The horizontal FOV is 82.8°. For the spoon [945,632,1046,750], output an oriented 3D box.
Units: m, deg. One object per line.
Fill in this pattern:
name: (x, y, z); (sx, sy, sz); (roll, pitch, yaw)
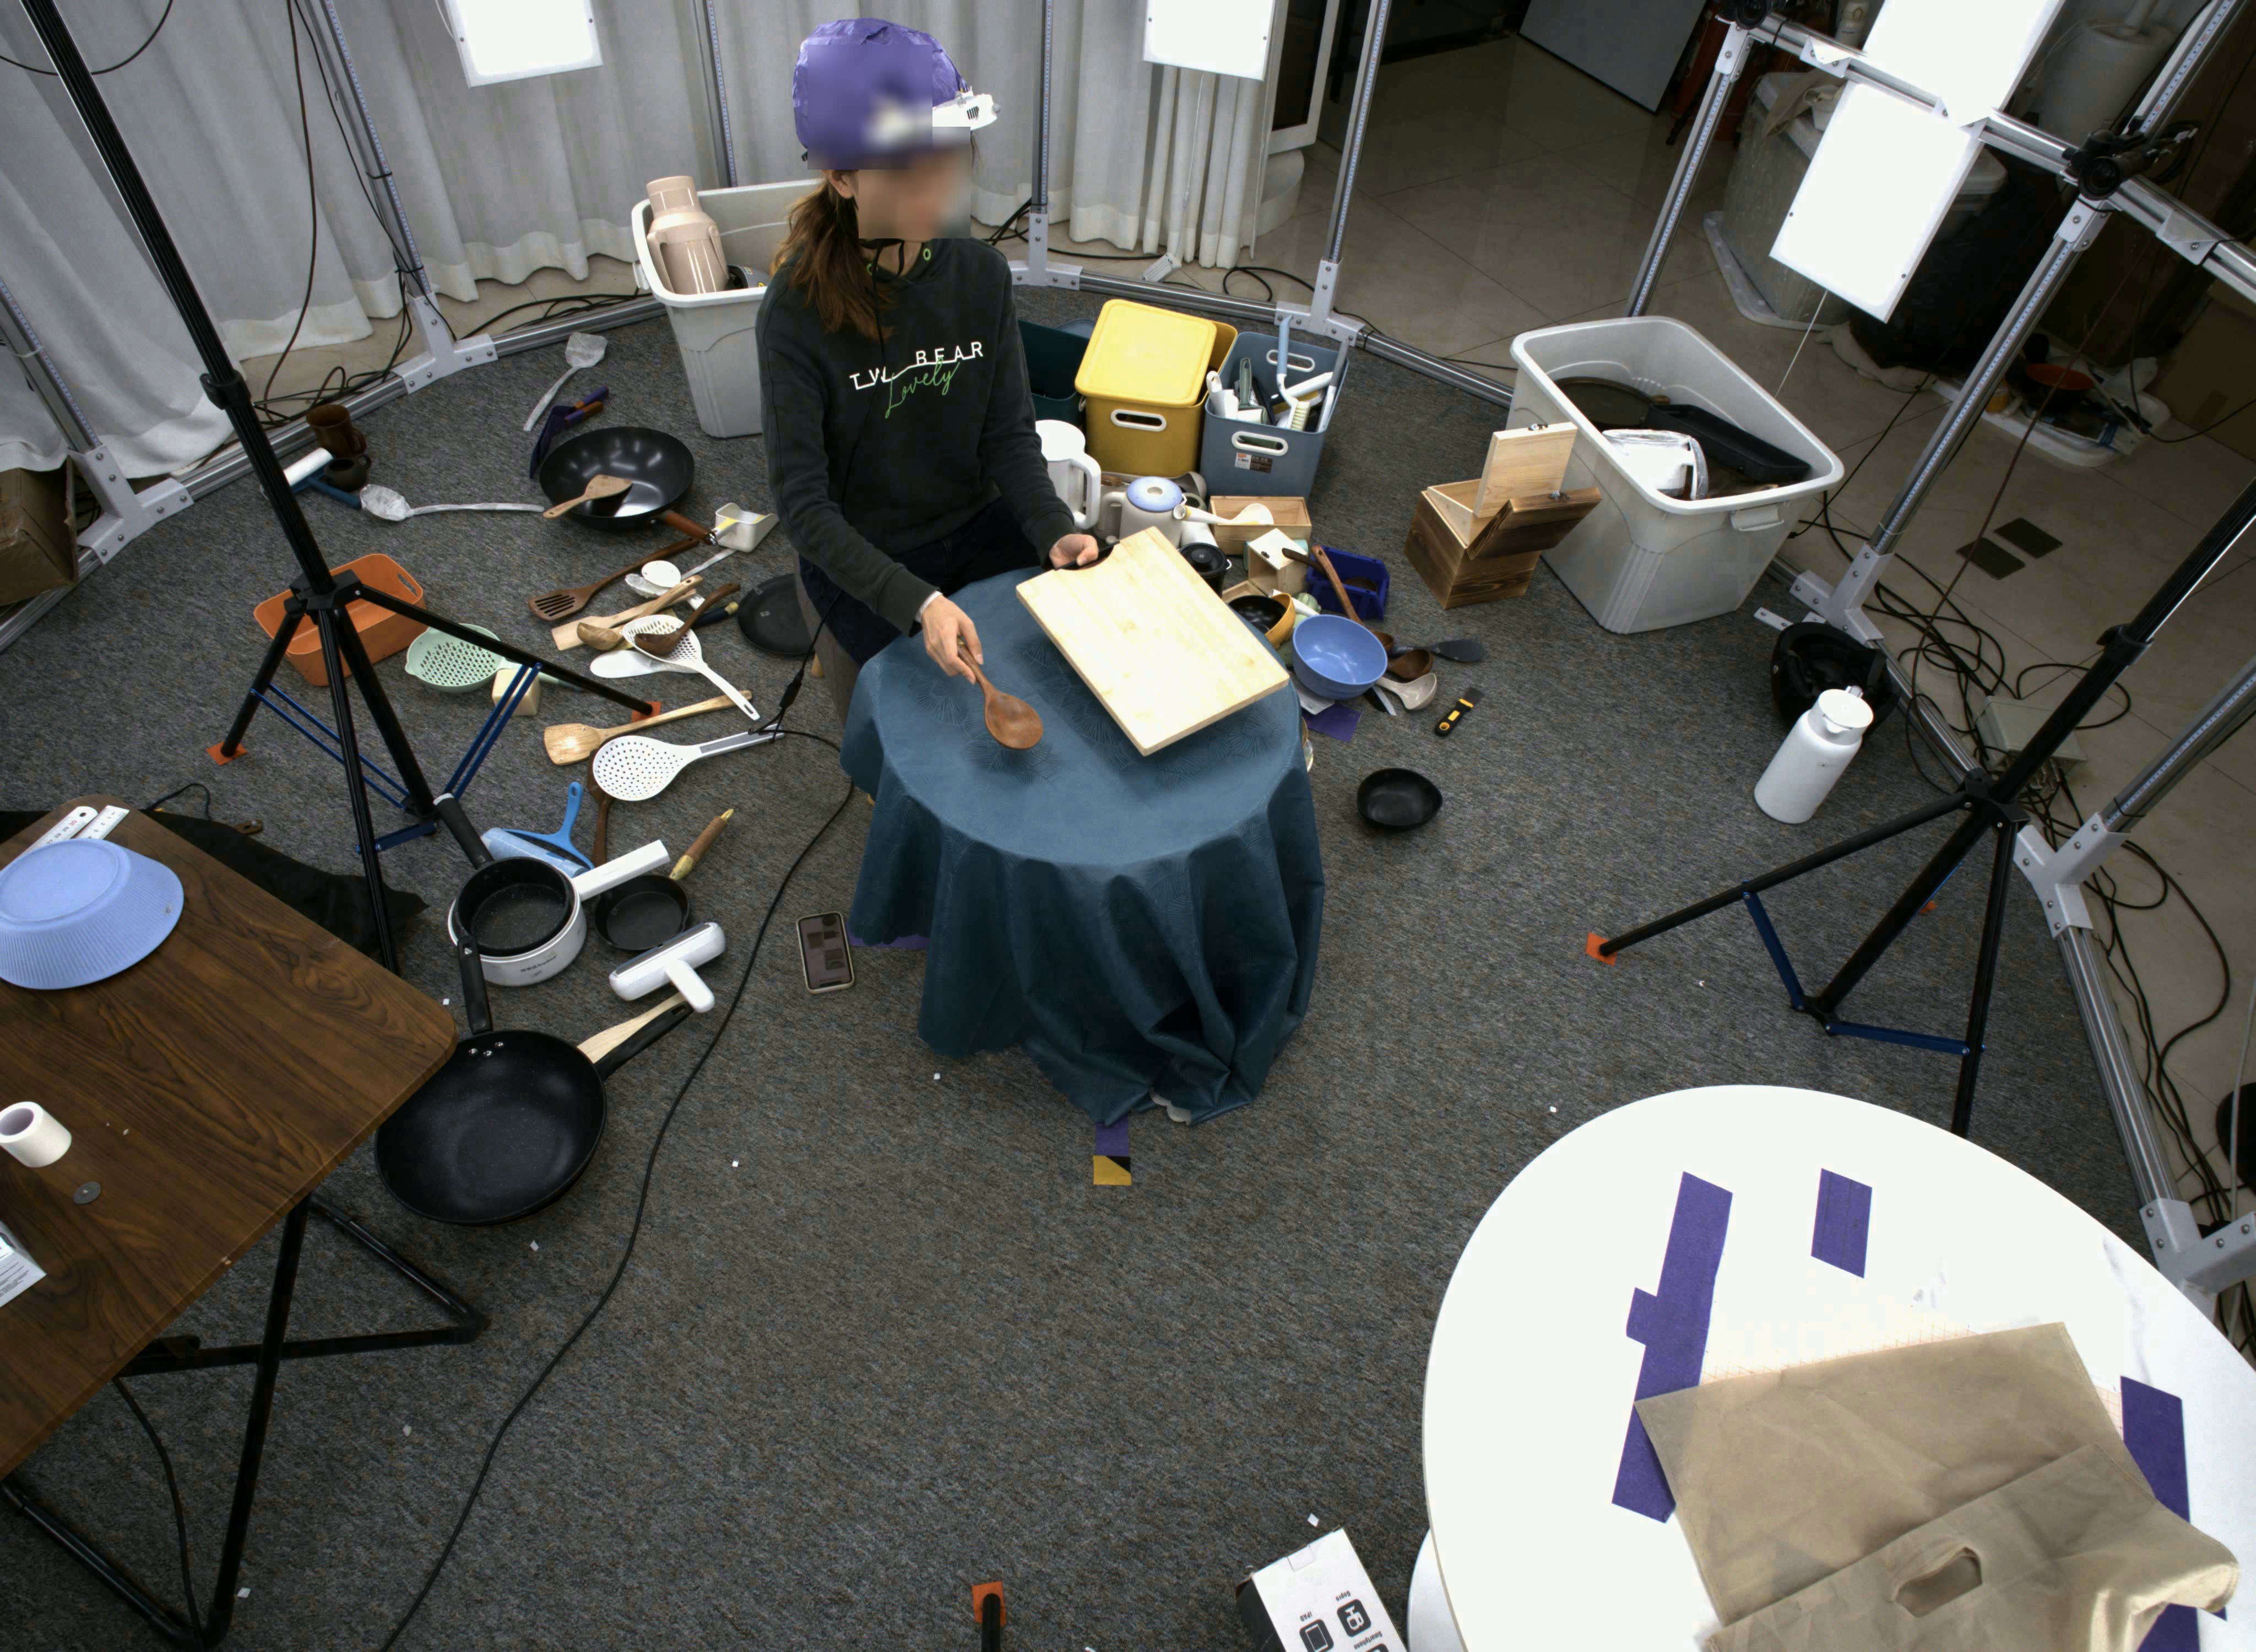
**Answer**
spoon: (-0.186, -0.185, 1.750); (0.076, 0.017, 0.219); (-25, 66, -25)

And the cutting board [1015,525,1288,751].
cutting board: (0.028, -0.274, 1.826); (0.252, 0.023, 0.355); (-27, 60, -20)
